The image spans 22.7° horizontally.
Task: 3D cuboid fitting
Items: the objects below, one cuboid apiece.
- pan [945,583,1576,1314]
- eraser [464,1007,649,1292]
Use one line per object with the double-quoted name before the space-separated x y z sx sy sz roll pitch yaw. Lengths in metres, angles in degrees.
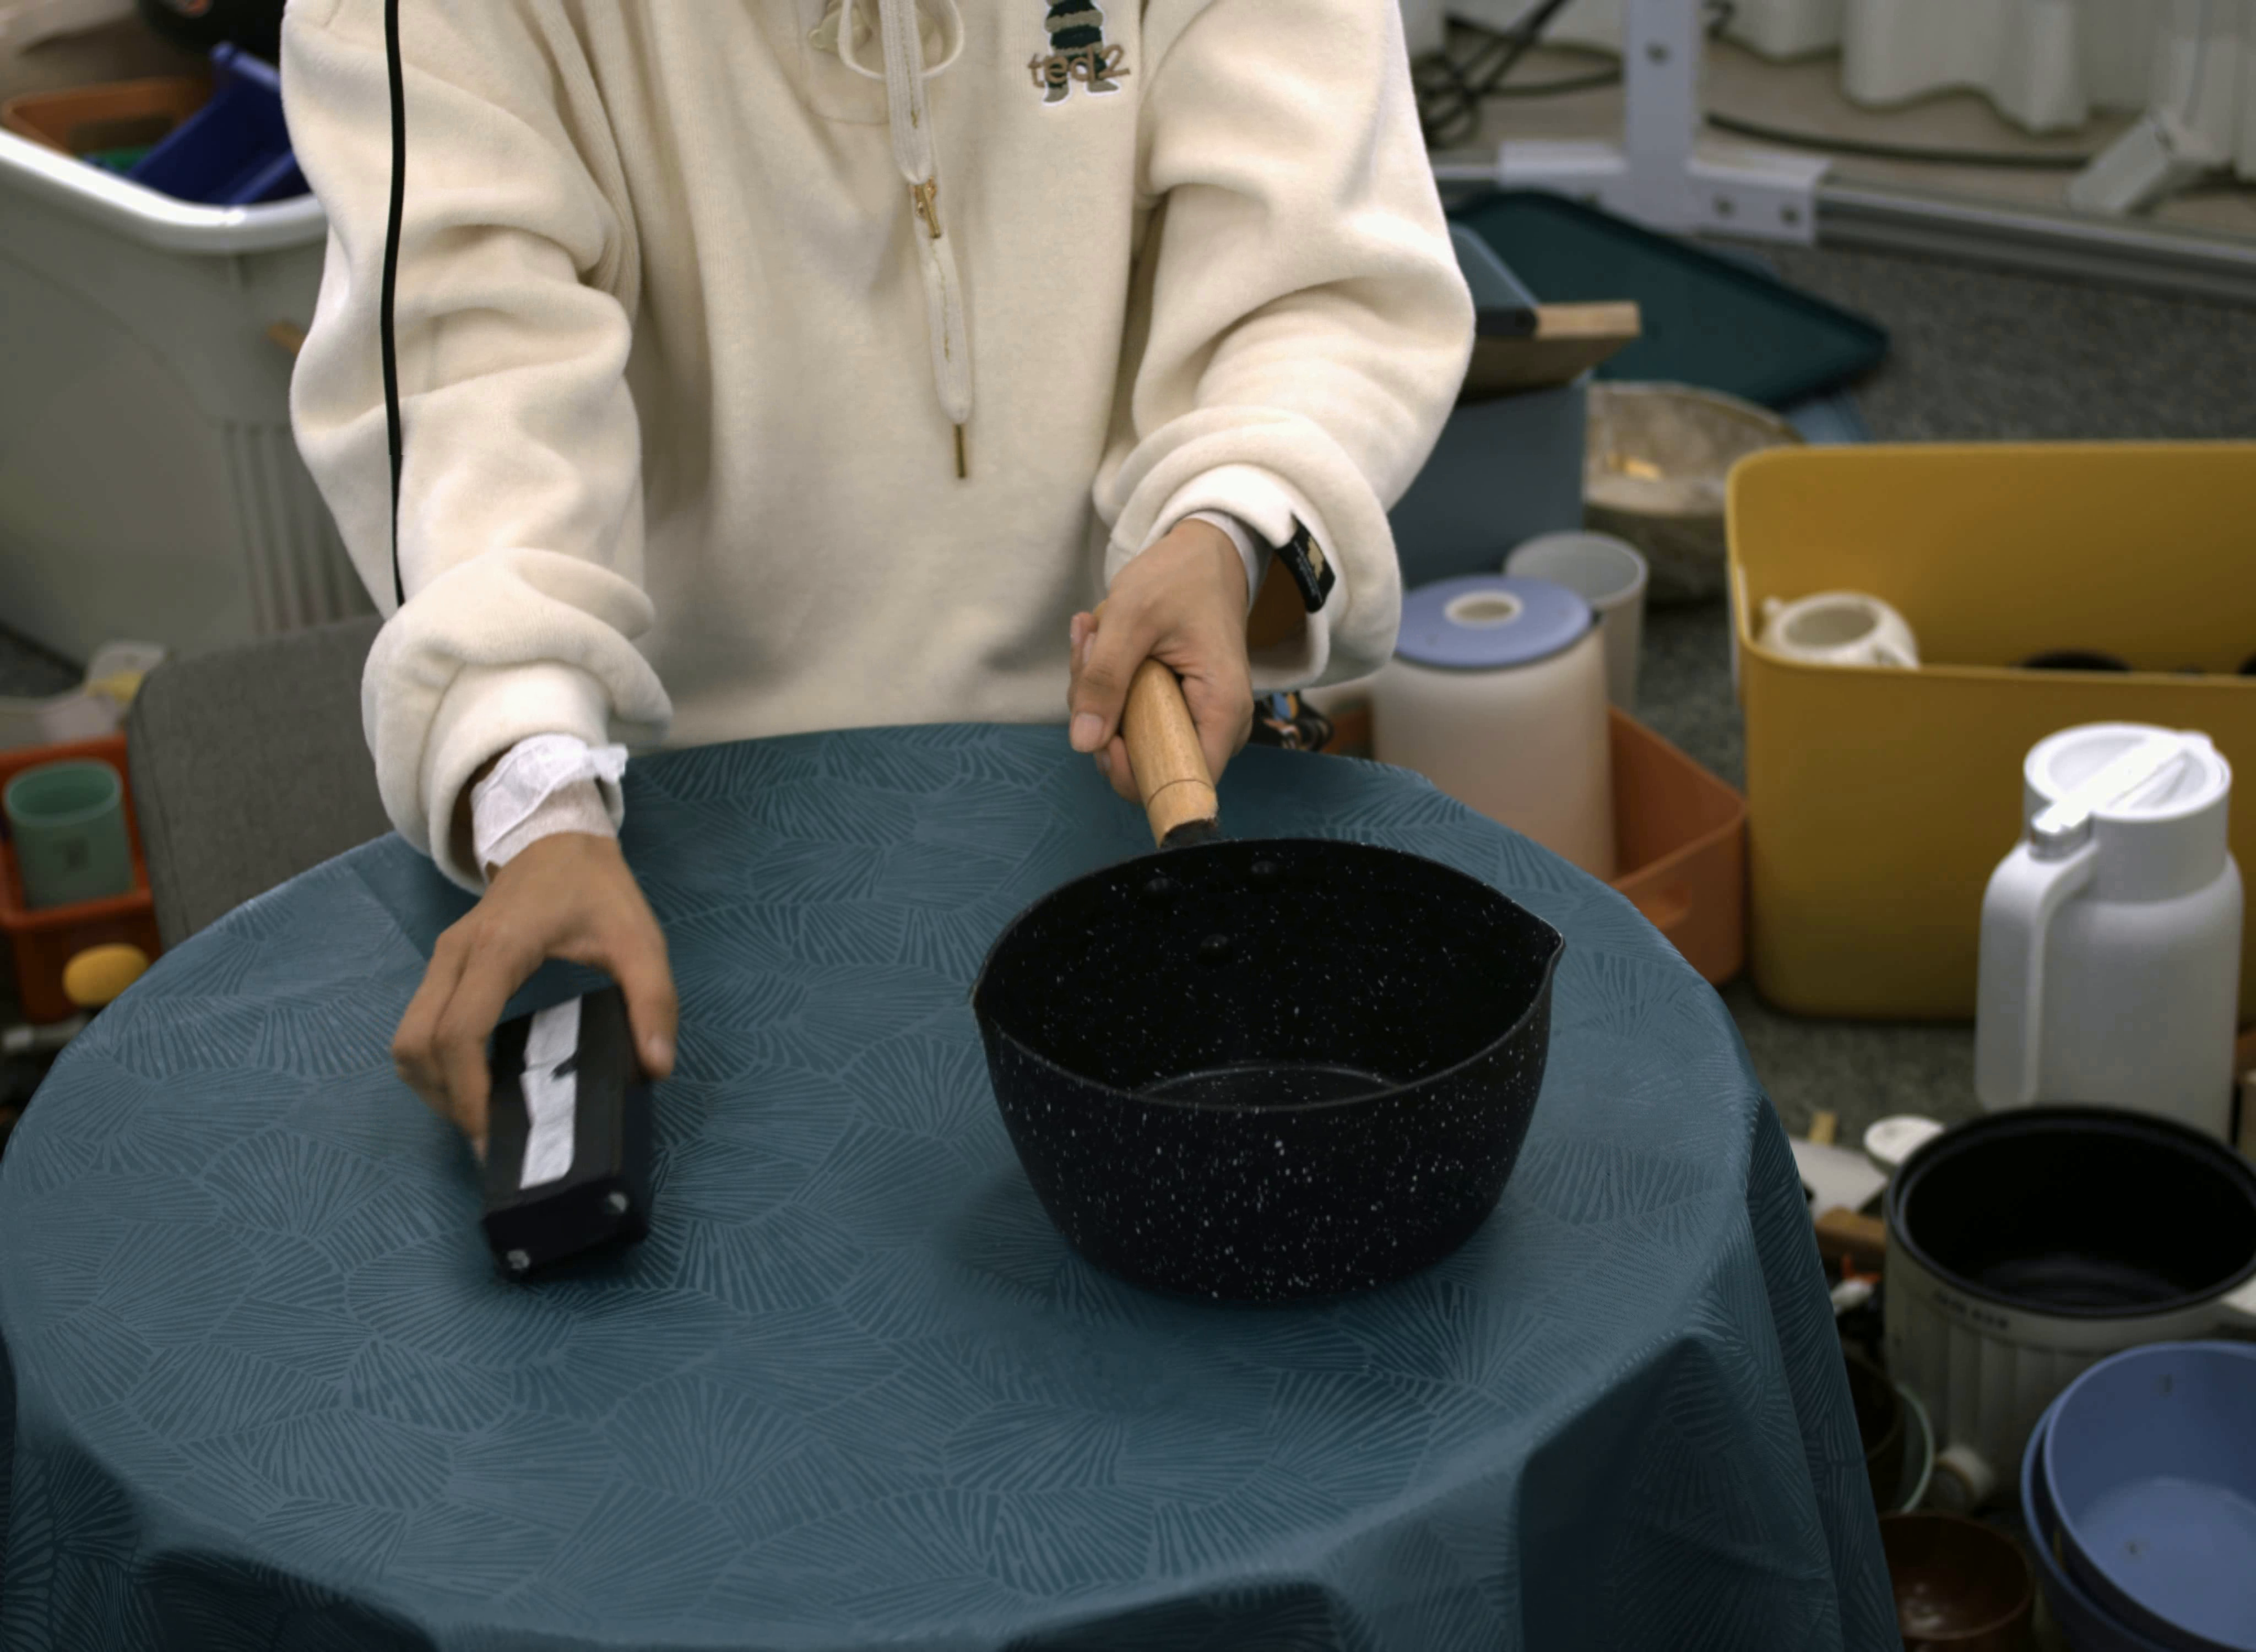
"pan" 0.031 0.038 1.903 0.207 0.107 0.347 -8 29 -9
"eraser" -0.188 0.107 1.865 0.053 0.030 0.127 -15 27 6
